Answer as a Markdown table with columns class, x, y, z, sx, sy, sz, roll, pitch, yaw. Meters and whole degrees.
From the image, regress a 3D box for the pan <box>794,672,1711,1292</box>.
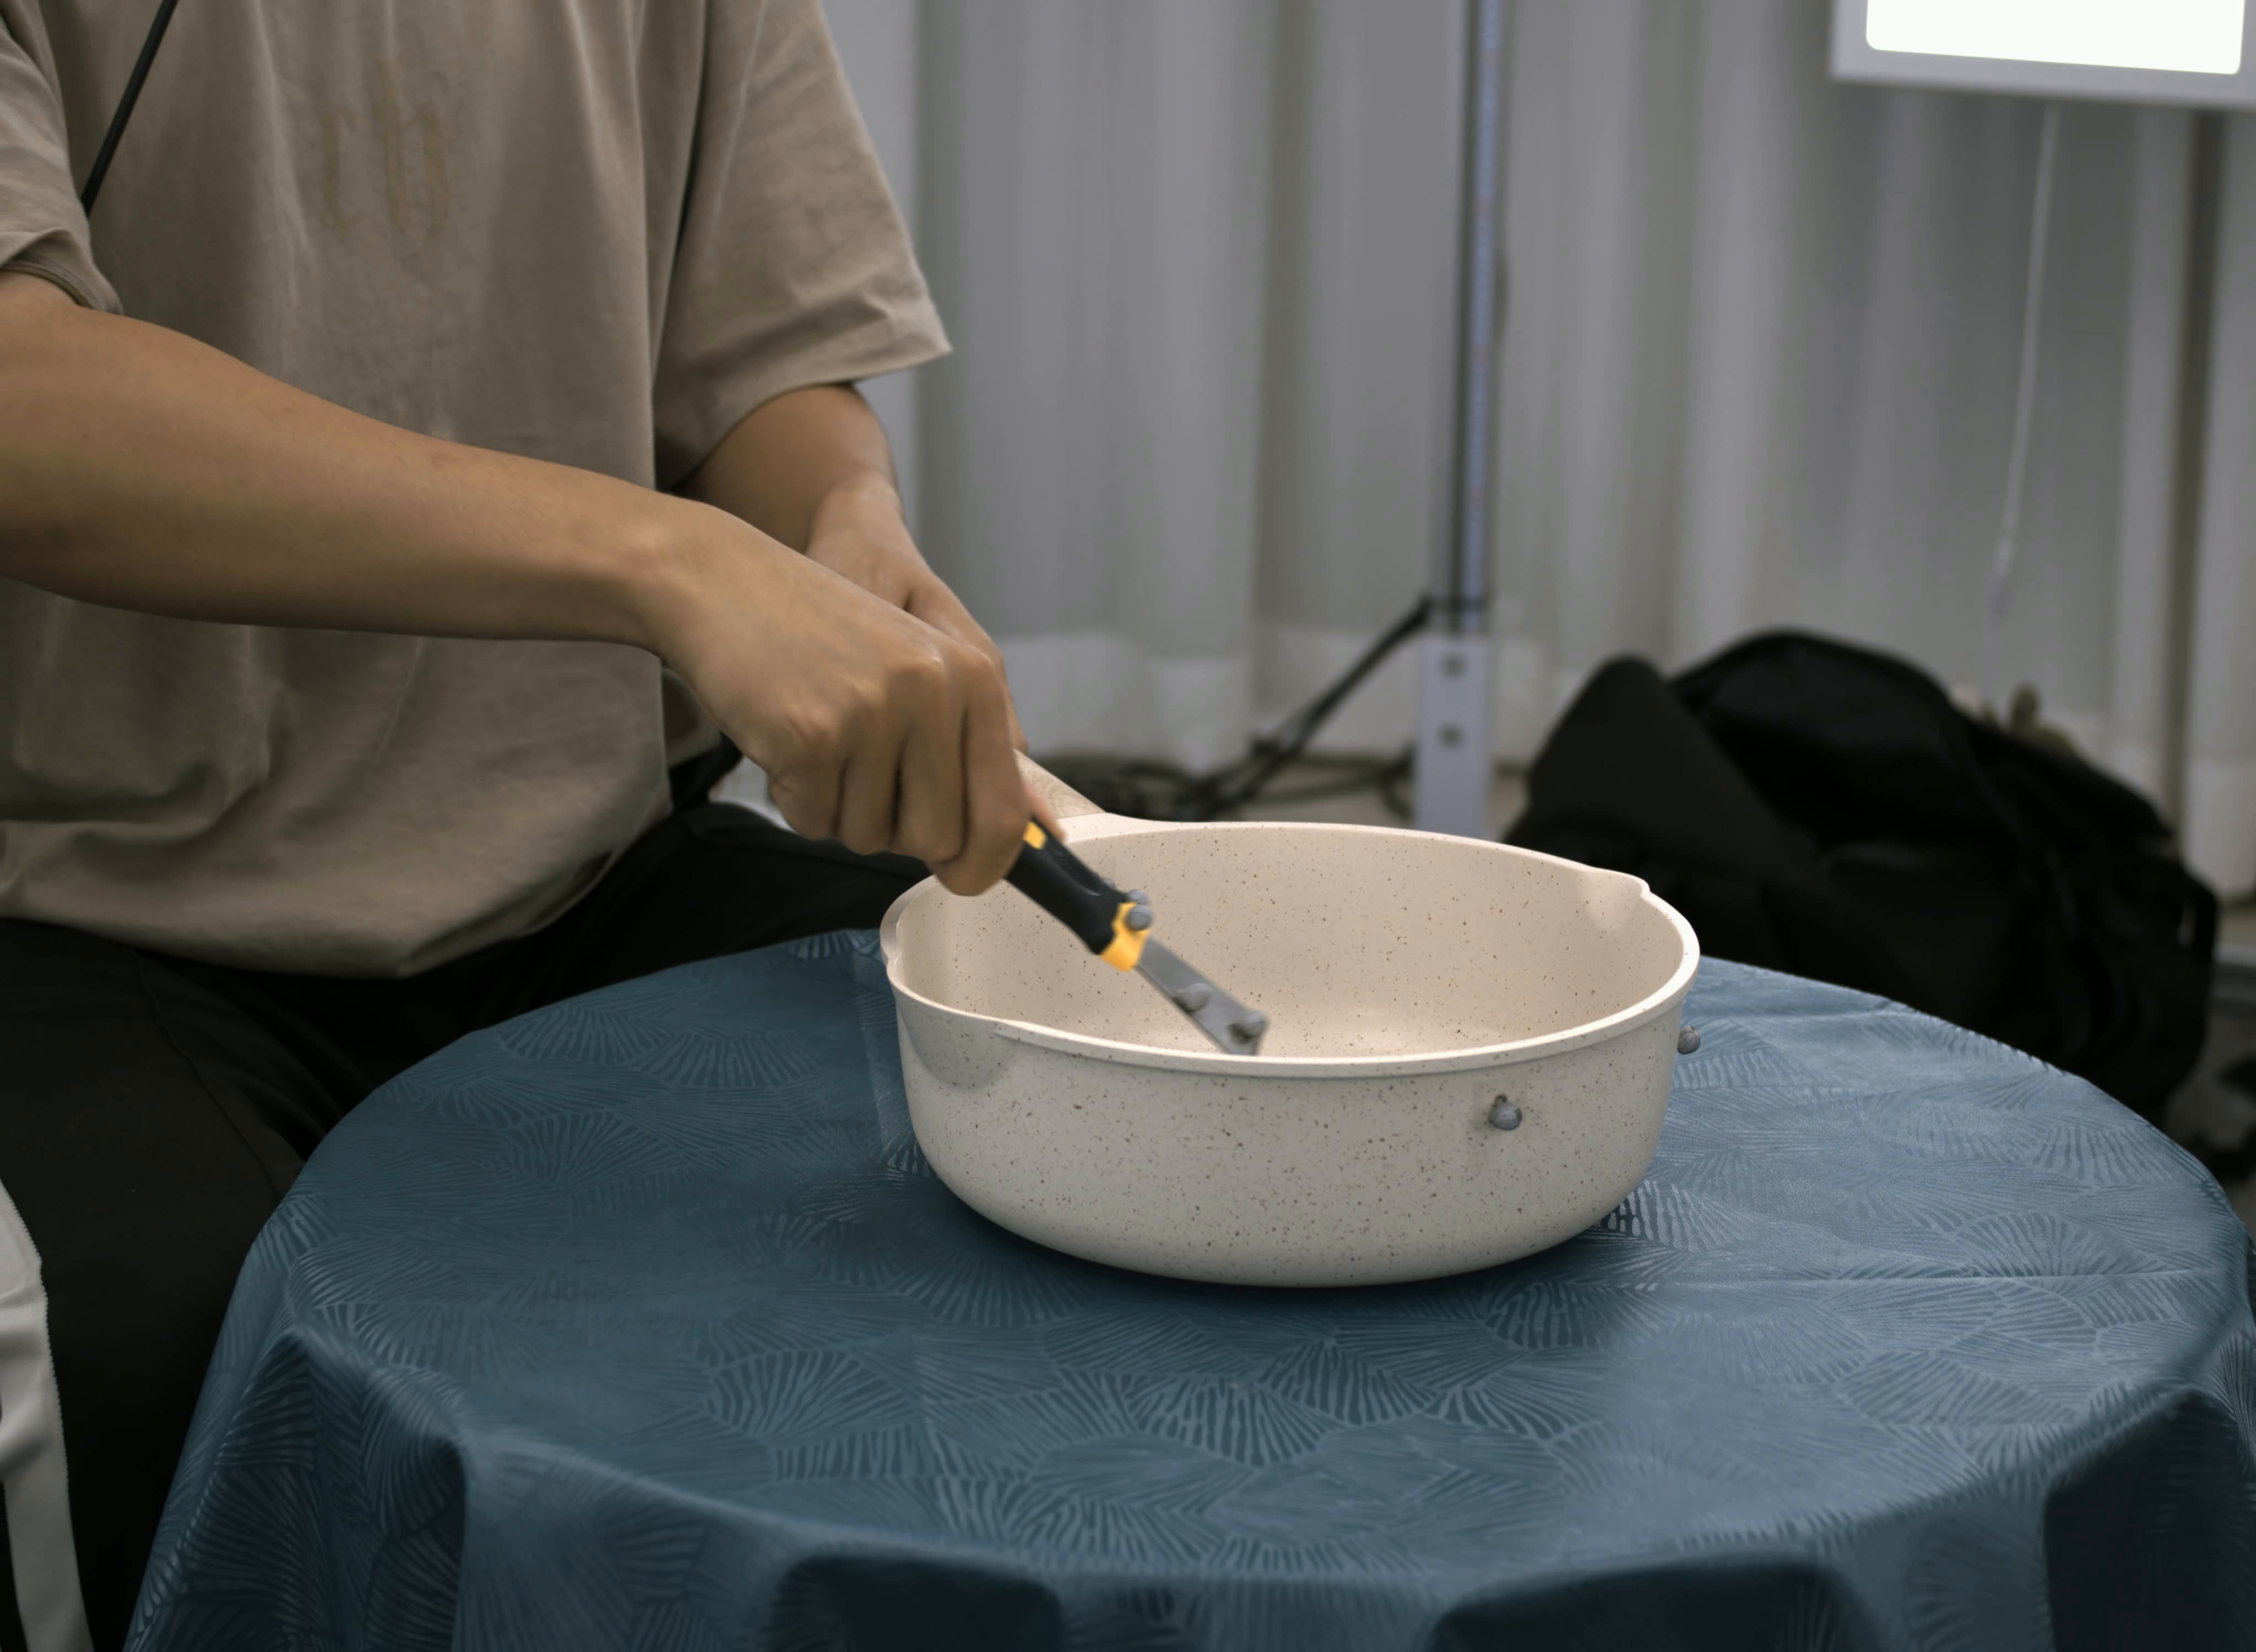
| class | x | y | z | sx | sy | sz | roll | pitch | yaw |
| --- | --- | --- | --- | --- | --- | --- | --- | --- | --- |
| pan | 0.007 | 0.044 | 1.698 | 0.264 | 0.103 | 0.429 | -12 | 20 | -29 |

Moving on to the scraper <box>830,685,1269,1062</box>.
| class | x | y | z | sx | sy | sz | roll | pitch | yaw |
| --- | --- | --- | --- | --- | --- | --- | --- | --- | --- |
| scraper | -0.024 | 0.016 | 1.611 | 0.172 | 0.015 | 0.038 | 40 | 32 | -13 |
